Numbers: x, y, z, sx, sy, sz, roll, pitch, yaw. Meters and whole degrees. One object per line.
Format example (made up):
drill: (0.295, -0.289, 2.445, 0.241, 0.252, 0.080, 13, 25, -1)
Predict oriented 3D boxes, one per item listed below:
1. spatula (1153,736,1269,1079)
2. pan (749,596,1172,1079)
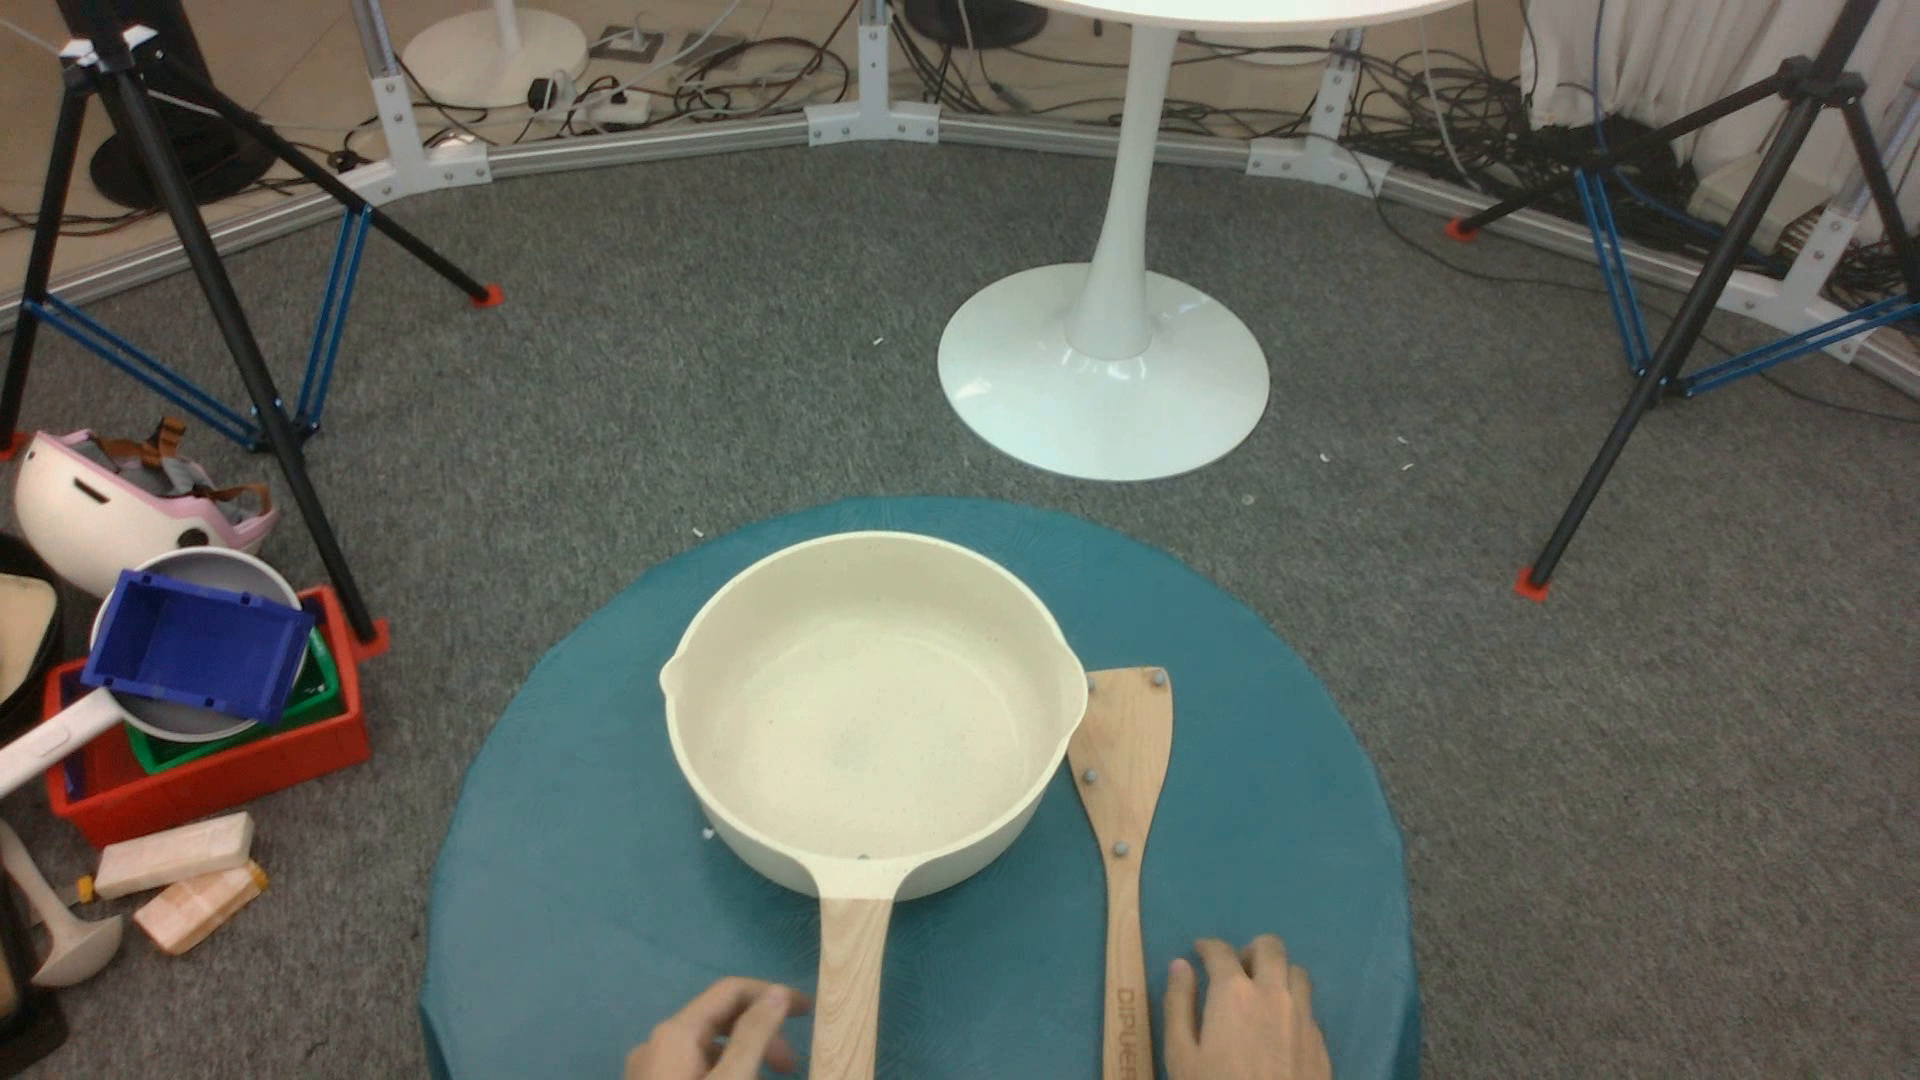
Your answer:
spatula: (0.154, 0.249, 0.836, 0.080, 0.016, 0.329, 5, 43, 4)
pan: (-0.007, 0.216, 0.812, 0.263, 0.101, 0.437, 3, 45, 2)
